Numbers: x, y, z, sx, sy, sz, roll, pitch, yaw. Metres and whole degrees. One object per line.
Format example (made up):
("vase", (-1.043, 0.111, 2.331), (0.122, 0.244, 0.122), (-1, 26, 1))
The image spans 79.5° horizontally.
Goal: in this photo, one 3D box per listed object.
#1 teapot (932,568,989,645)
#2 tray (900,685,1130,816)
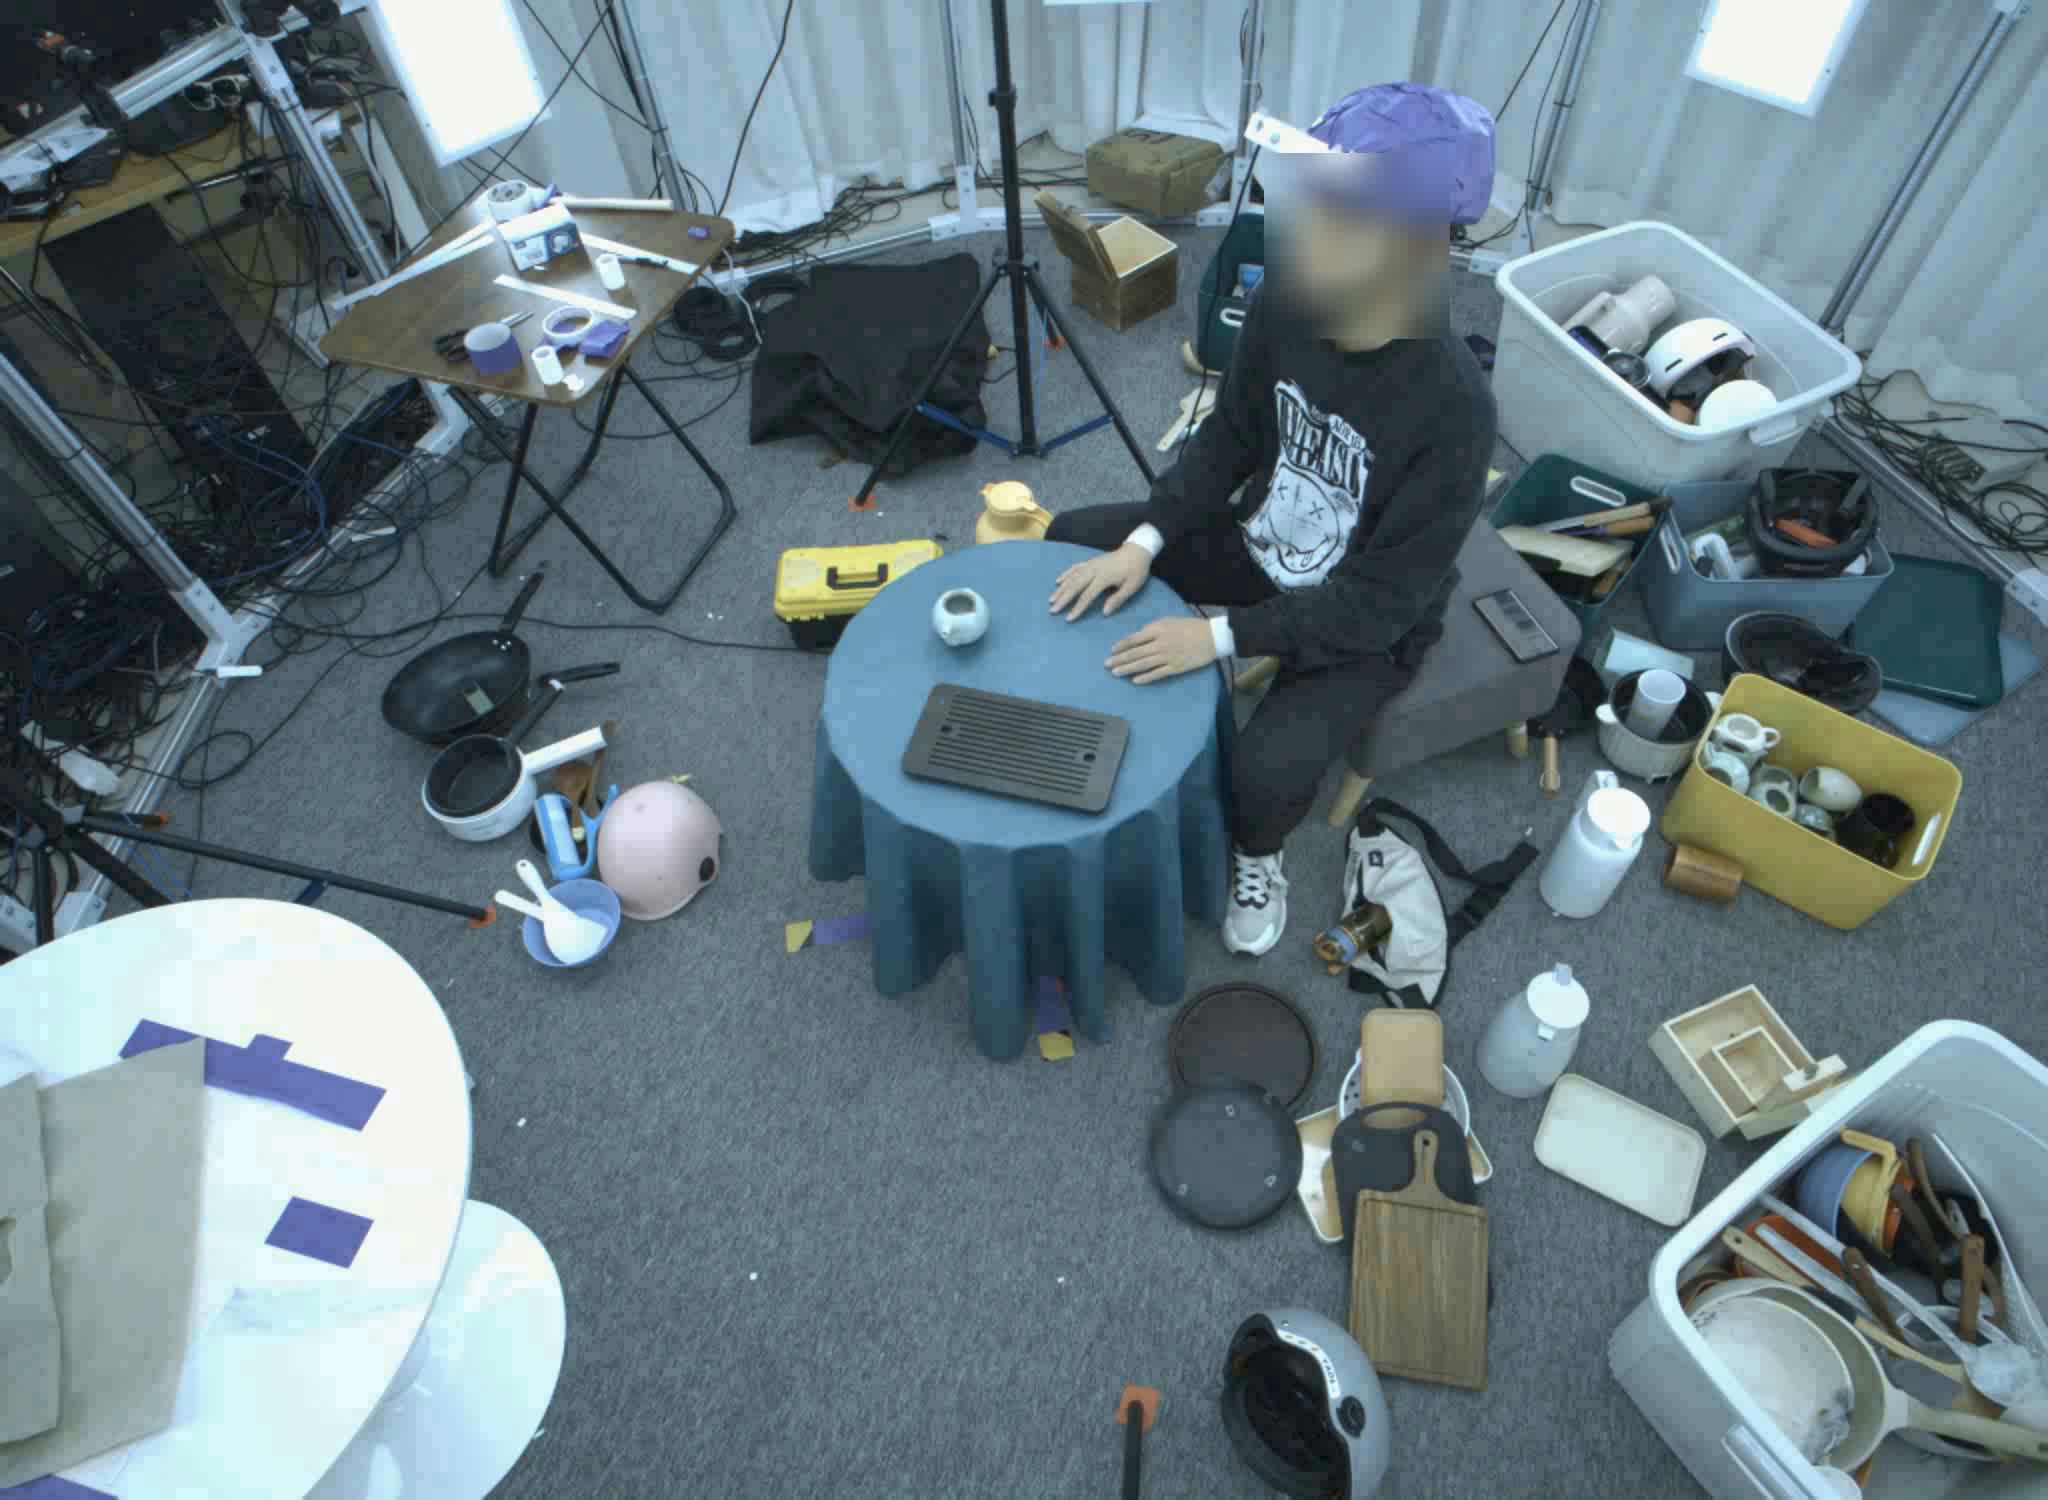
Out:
("teapot", (-0.098, -0.207, 1.889), (0.087, 0.075, 0.143), (13, 57, 12))
("tray", (-0.012, -0.001, 1.773), (0.303, 0.019, 0.169), (12, 56, 10))
